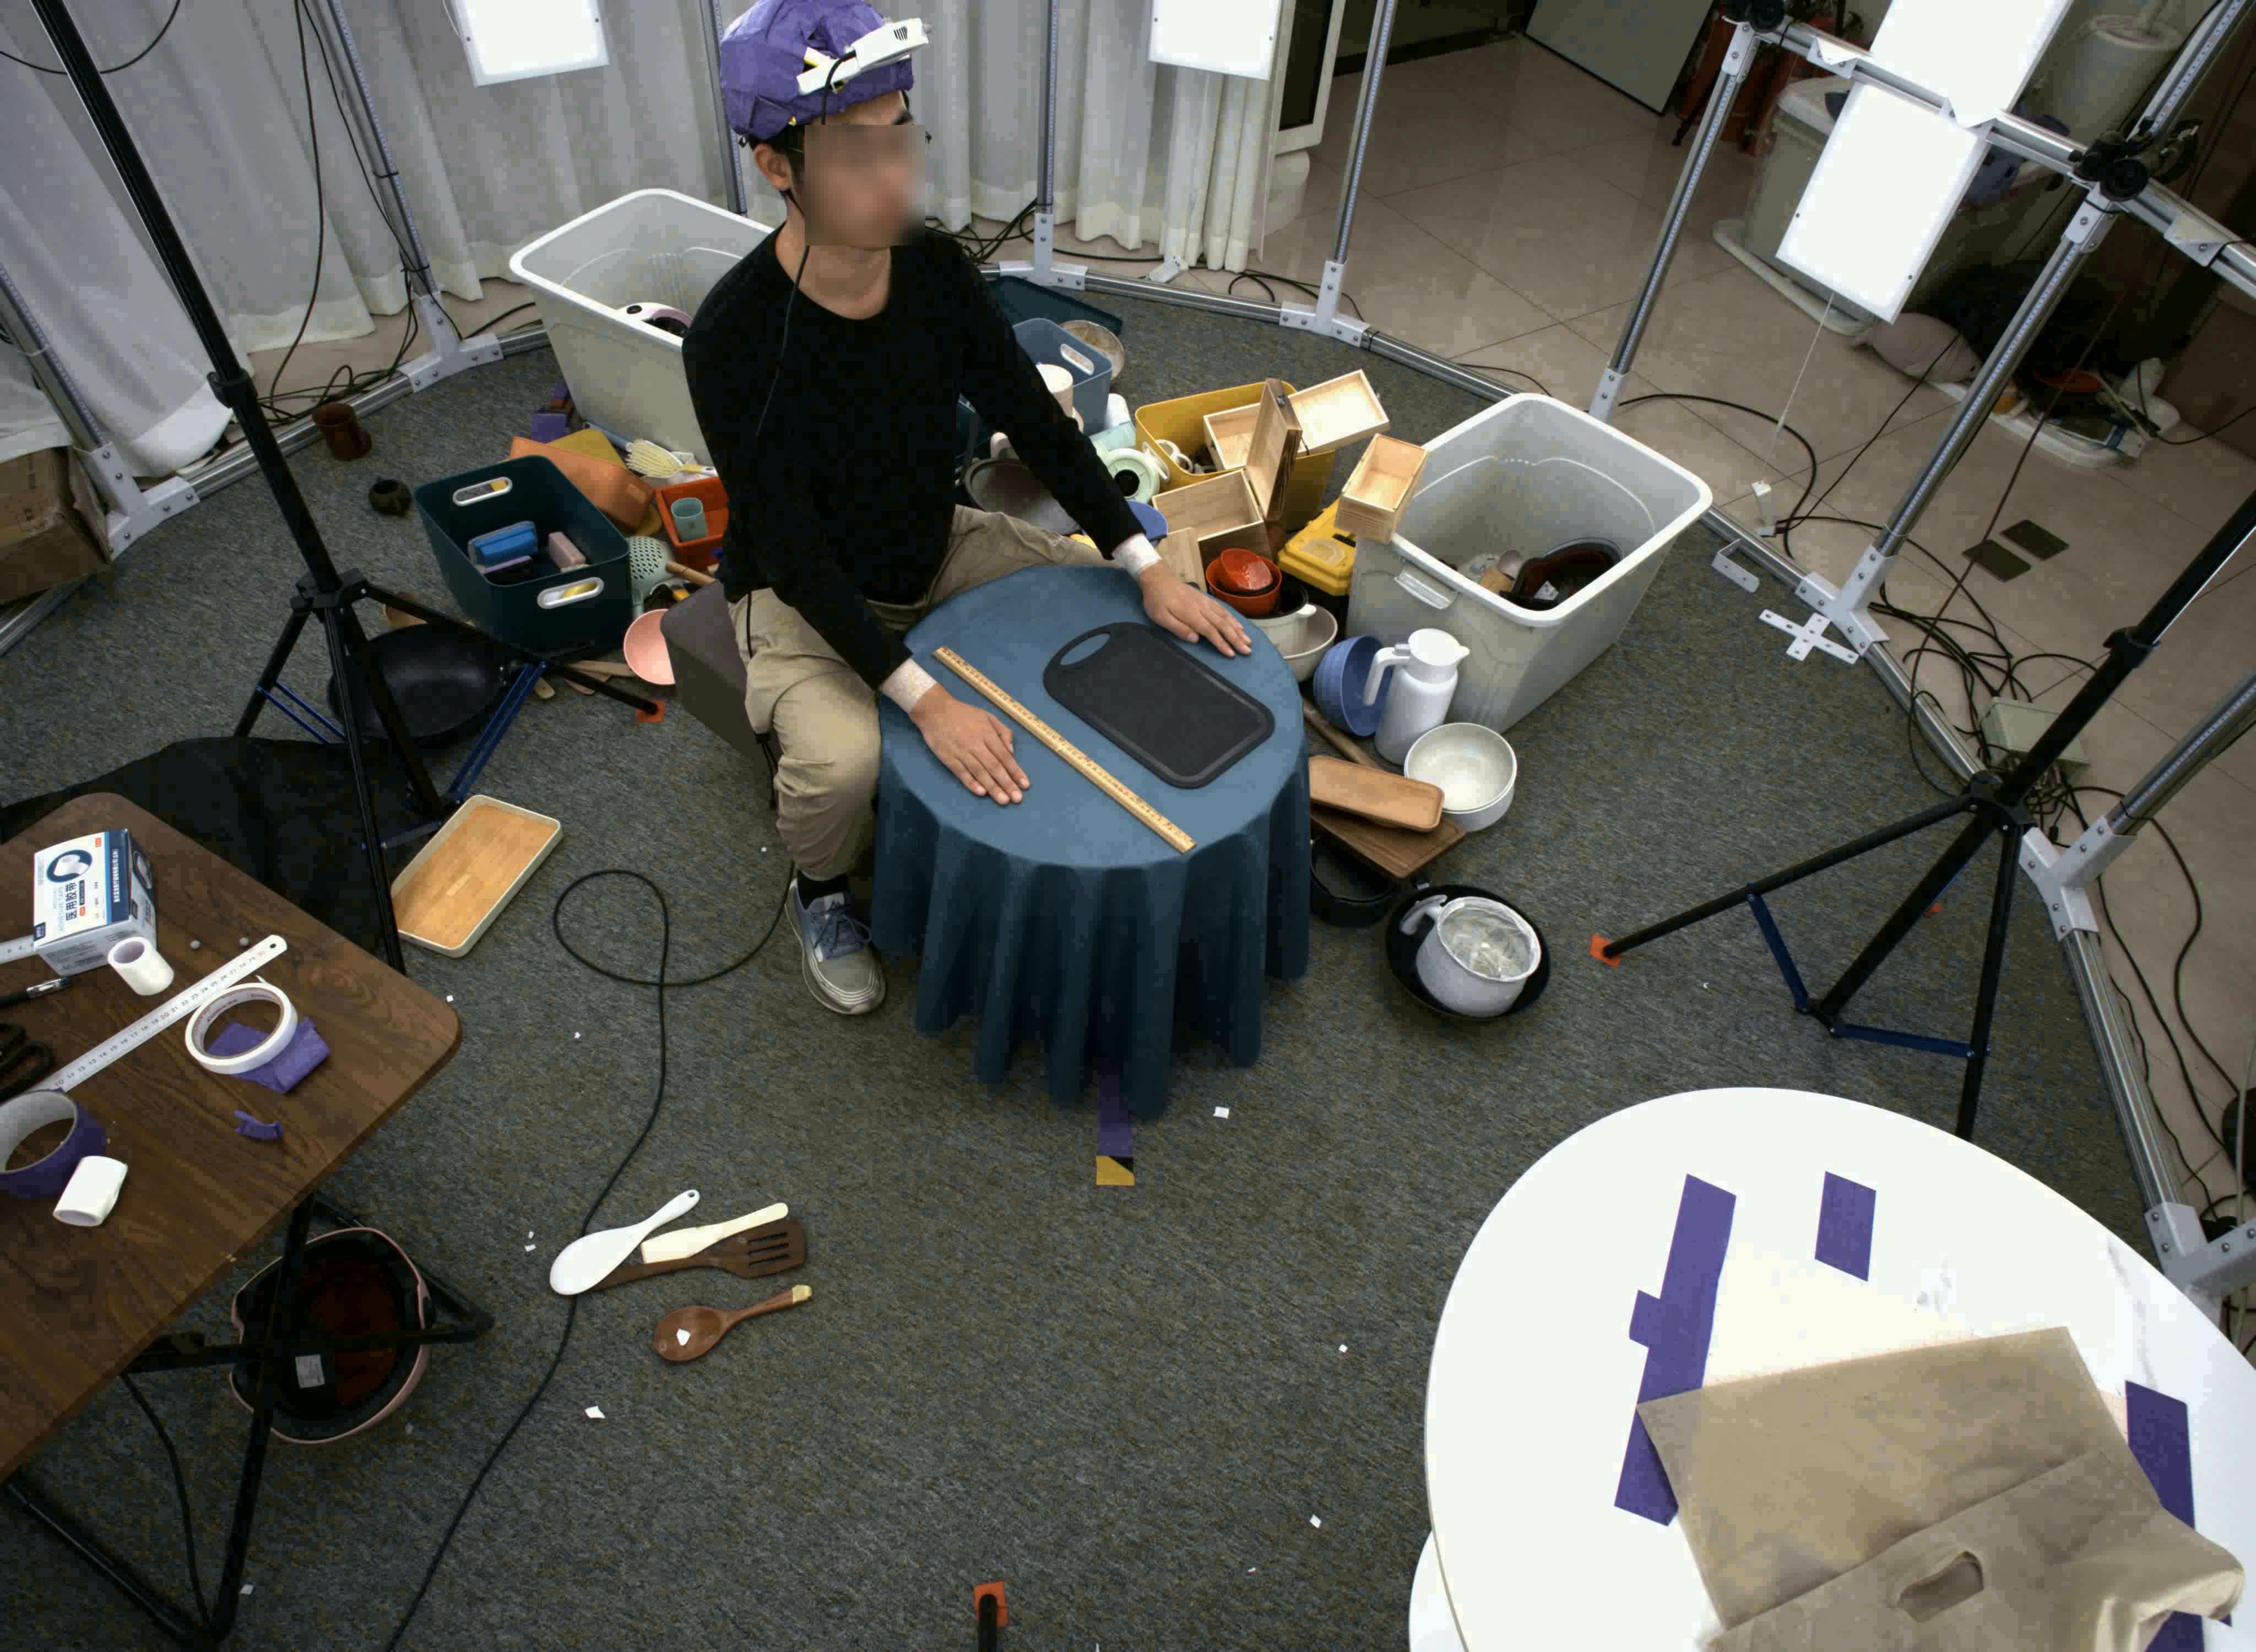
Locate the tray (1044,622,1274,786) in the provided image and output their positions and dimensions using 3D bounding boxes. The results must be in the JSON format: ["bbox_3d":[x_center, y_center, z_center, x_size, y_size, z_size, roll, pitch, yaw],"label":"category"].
[{"bbox_3d":[0.036,-0.185,1.828,0.213,0.009,0.330,-35,60,-29],"label":"tray"}]

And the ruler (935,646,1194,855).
[{"bbox_3d":[-0.096,-0.113,1.758,0.027,0.006,0.508,-33,58,-31],"label":"ruler"}]
